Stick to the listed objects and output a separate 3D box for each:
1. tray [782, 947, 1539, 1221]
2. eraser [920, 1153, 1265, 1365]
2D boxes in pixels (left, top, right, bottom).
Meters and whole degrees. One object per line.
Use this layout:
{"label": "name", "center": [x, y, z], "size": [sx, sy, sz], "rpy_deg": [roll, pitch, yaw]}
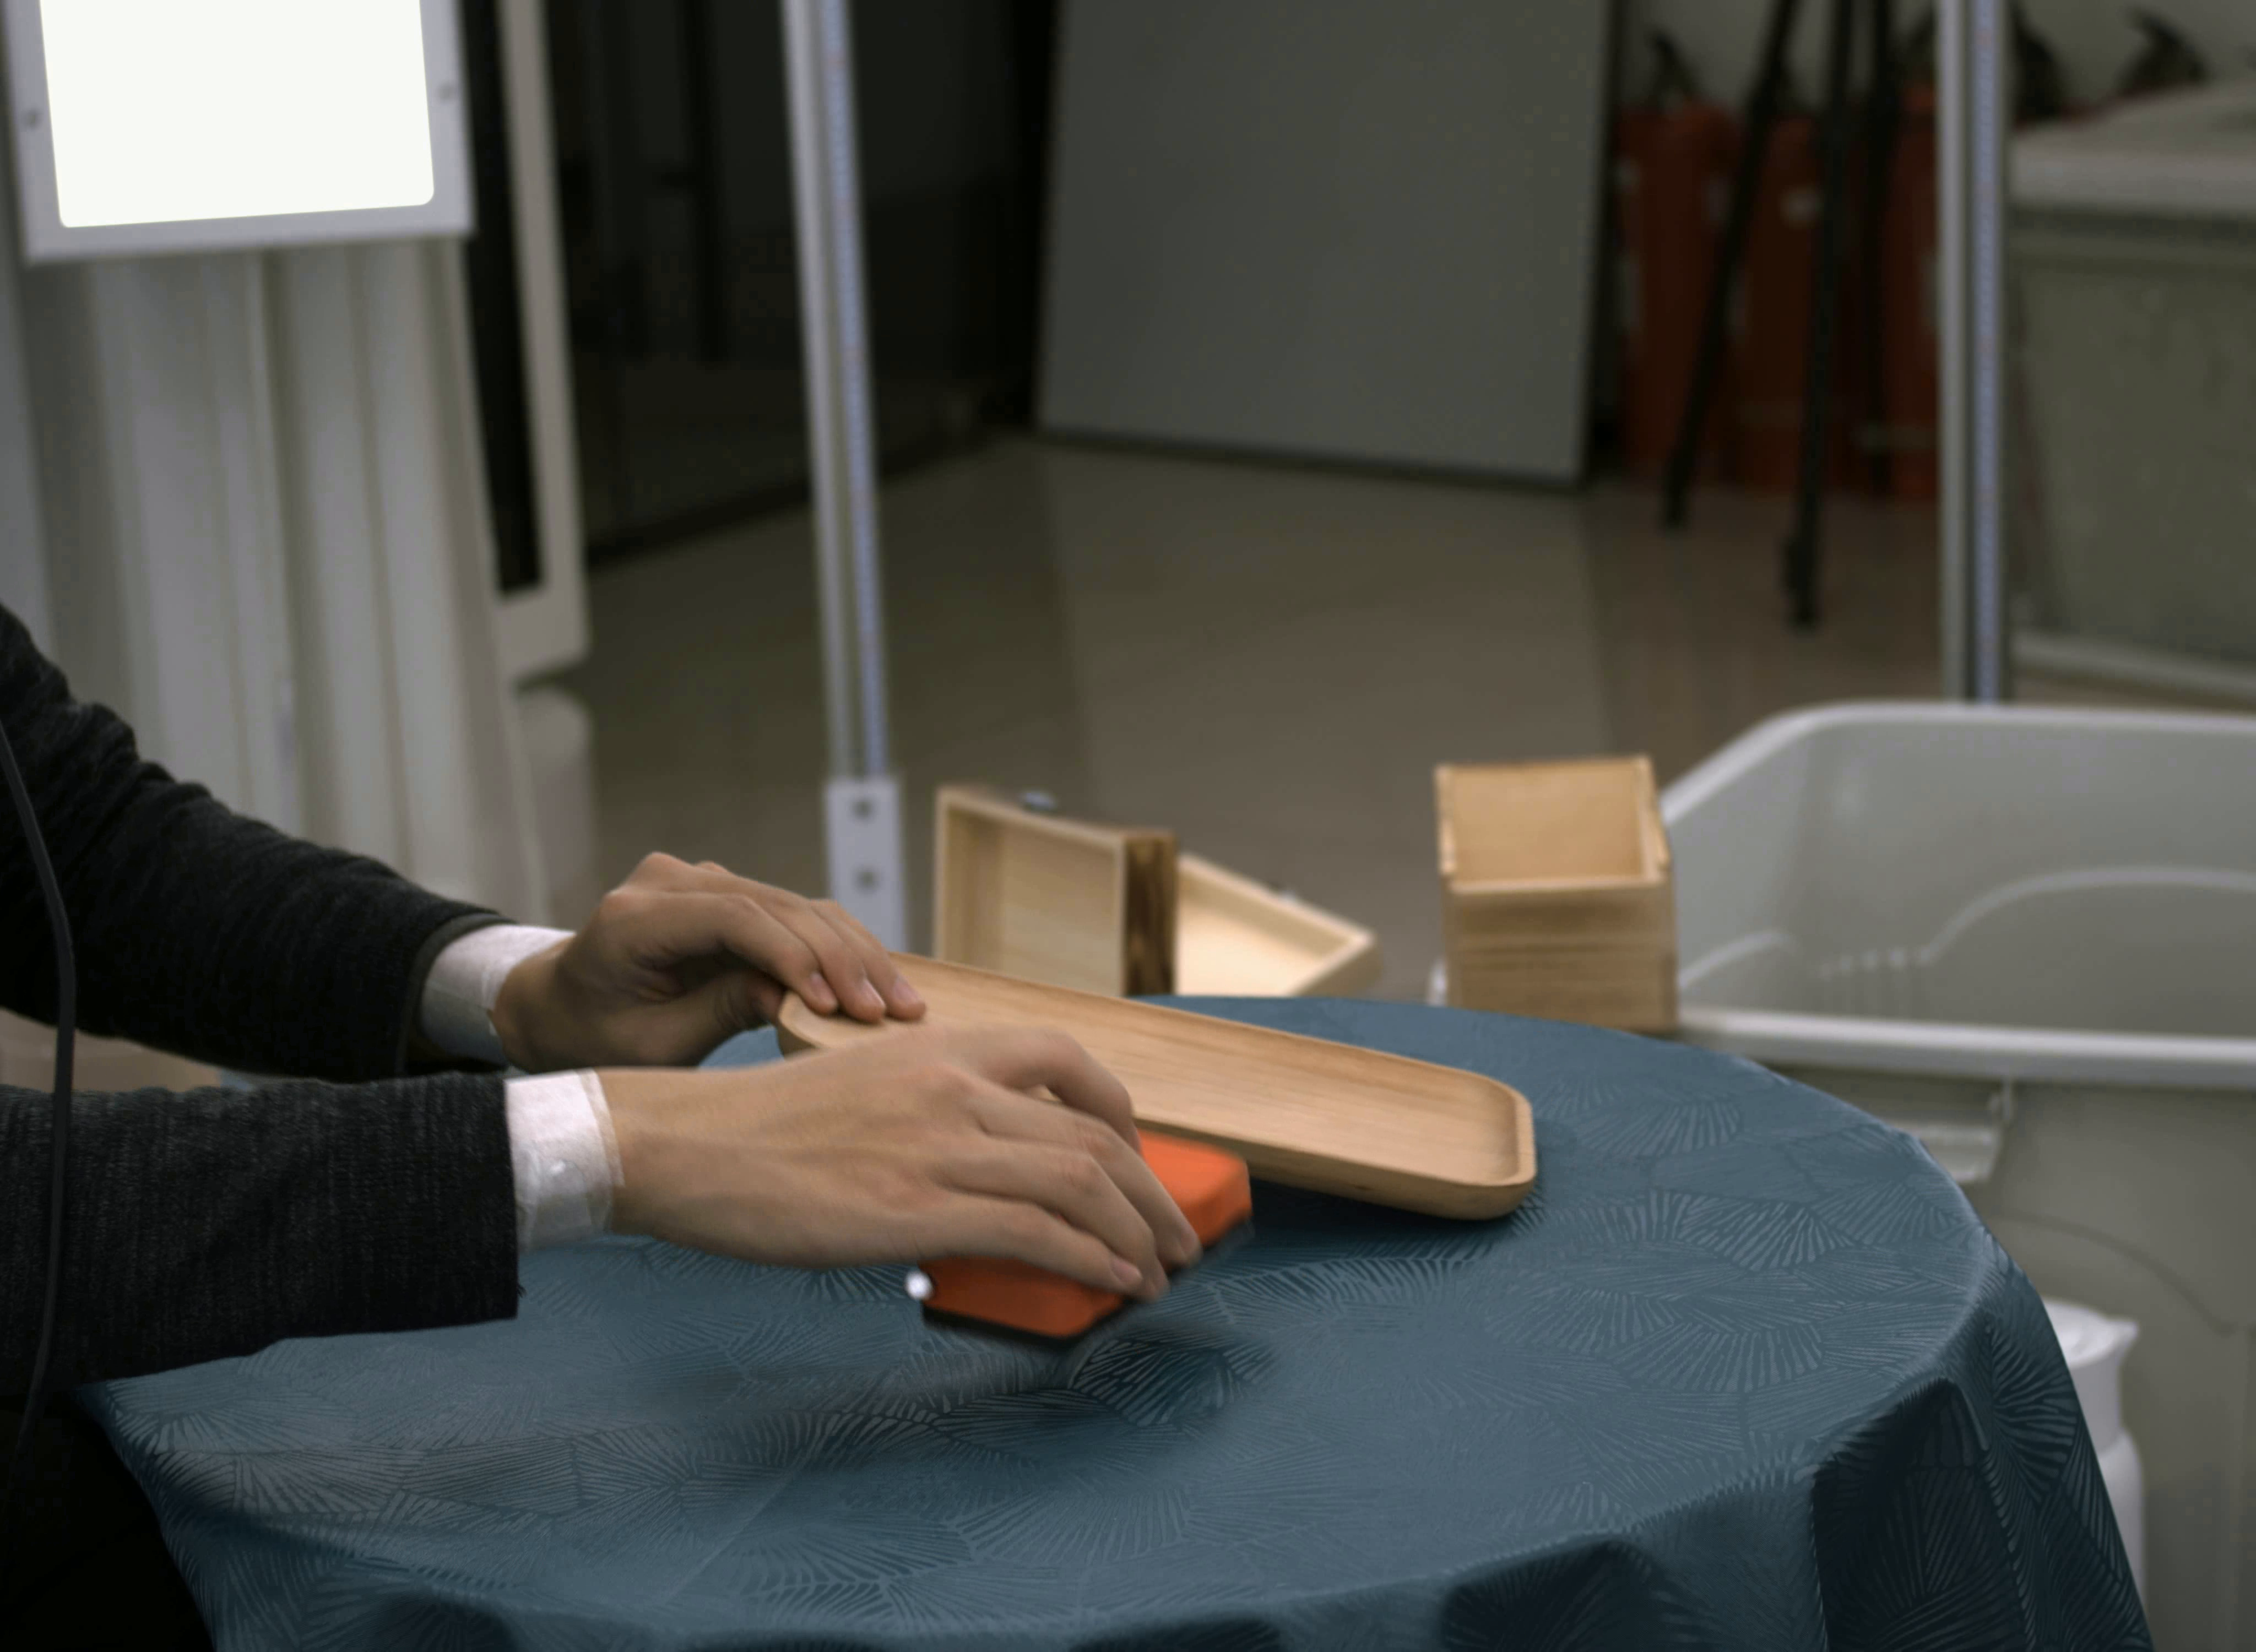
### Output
{"label": "tray", "center": [0.012, 0.084, 1.761], "size": [0.248, 0.023, 0.130], "rpy_deg": [11, 12, 2]}
{"label": "eraser", "center": [-0.010, 0.127, 1.597], "size": [0.059, 0.023, 0.106], "rpy_deg": [6, 20, 36]}
